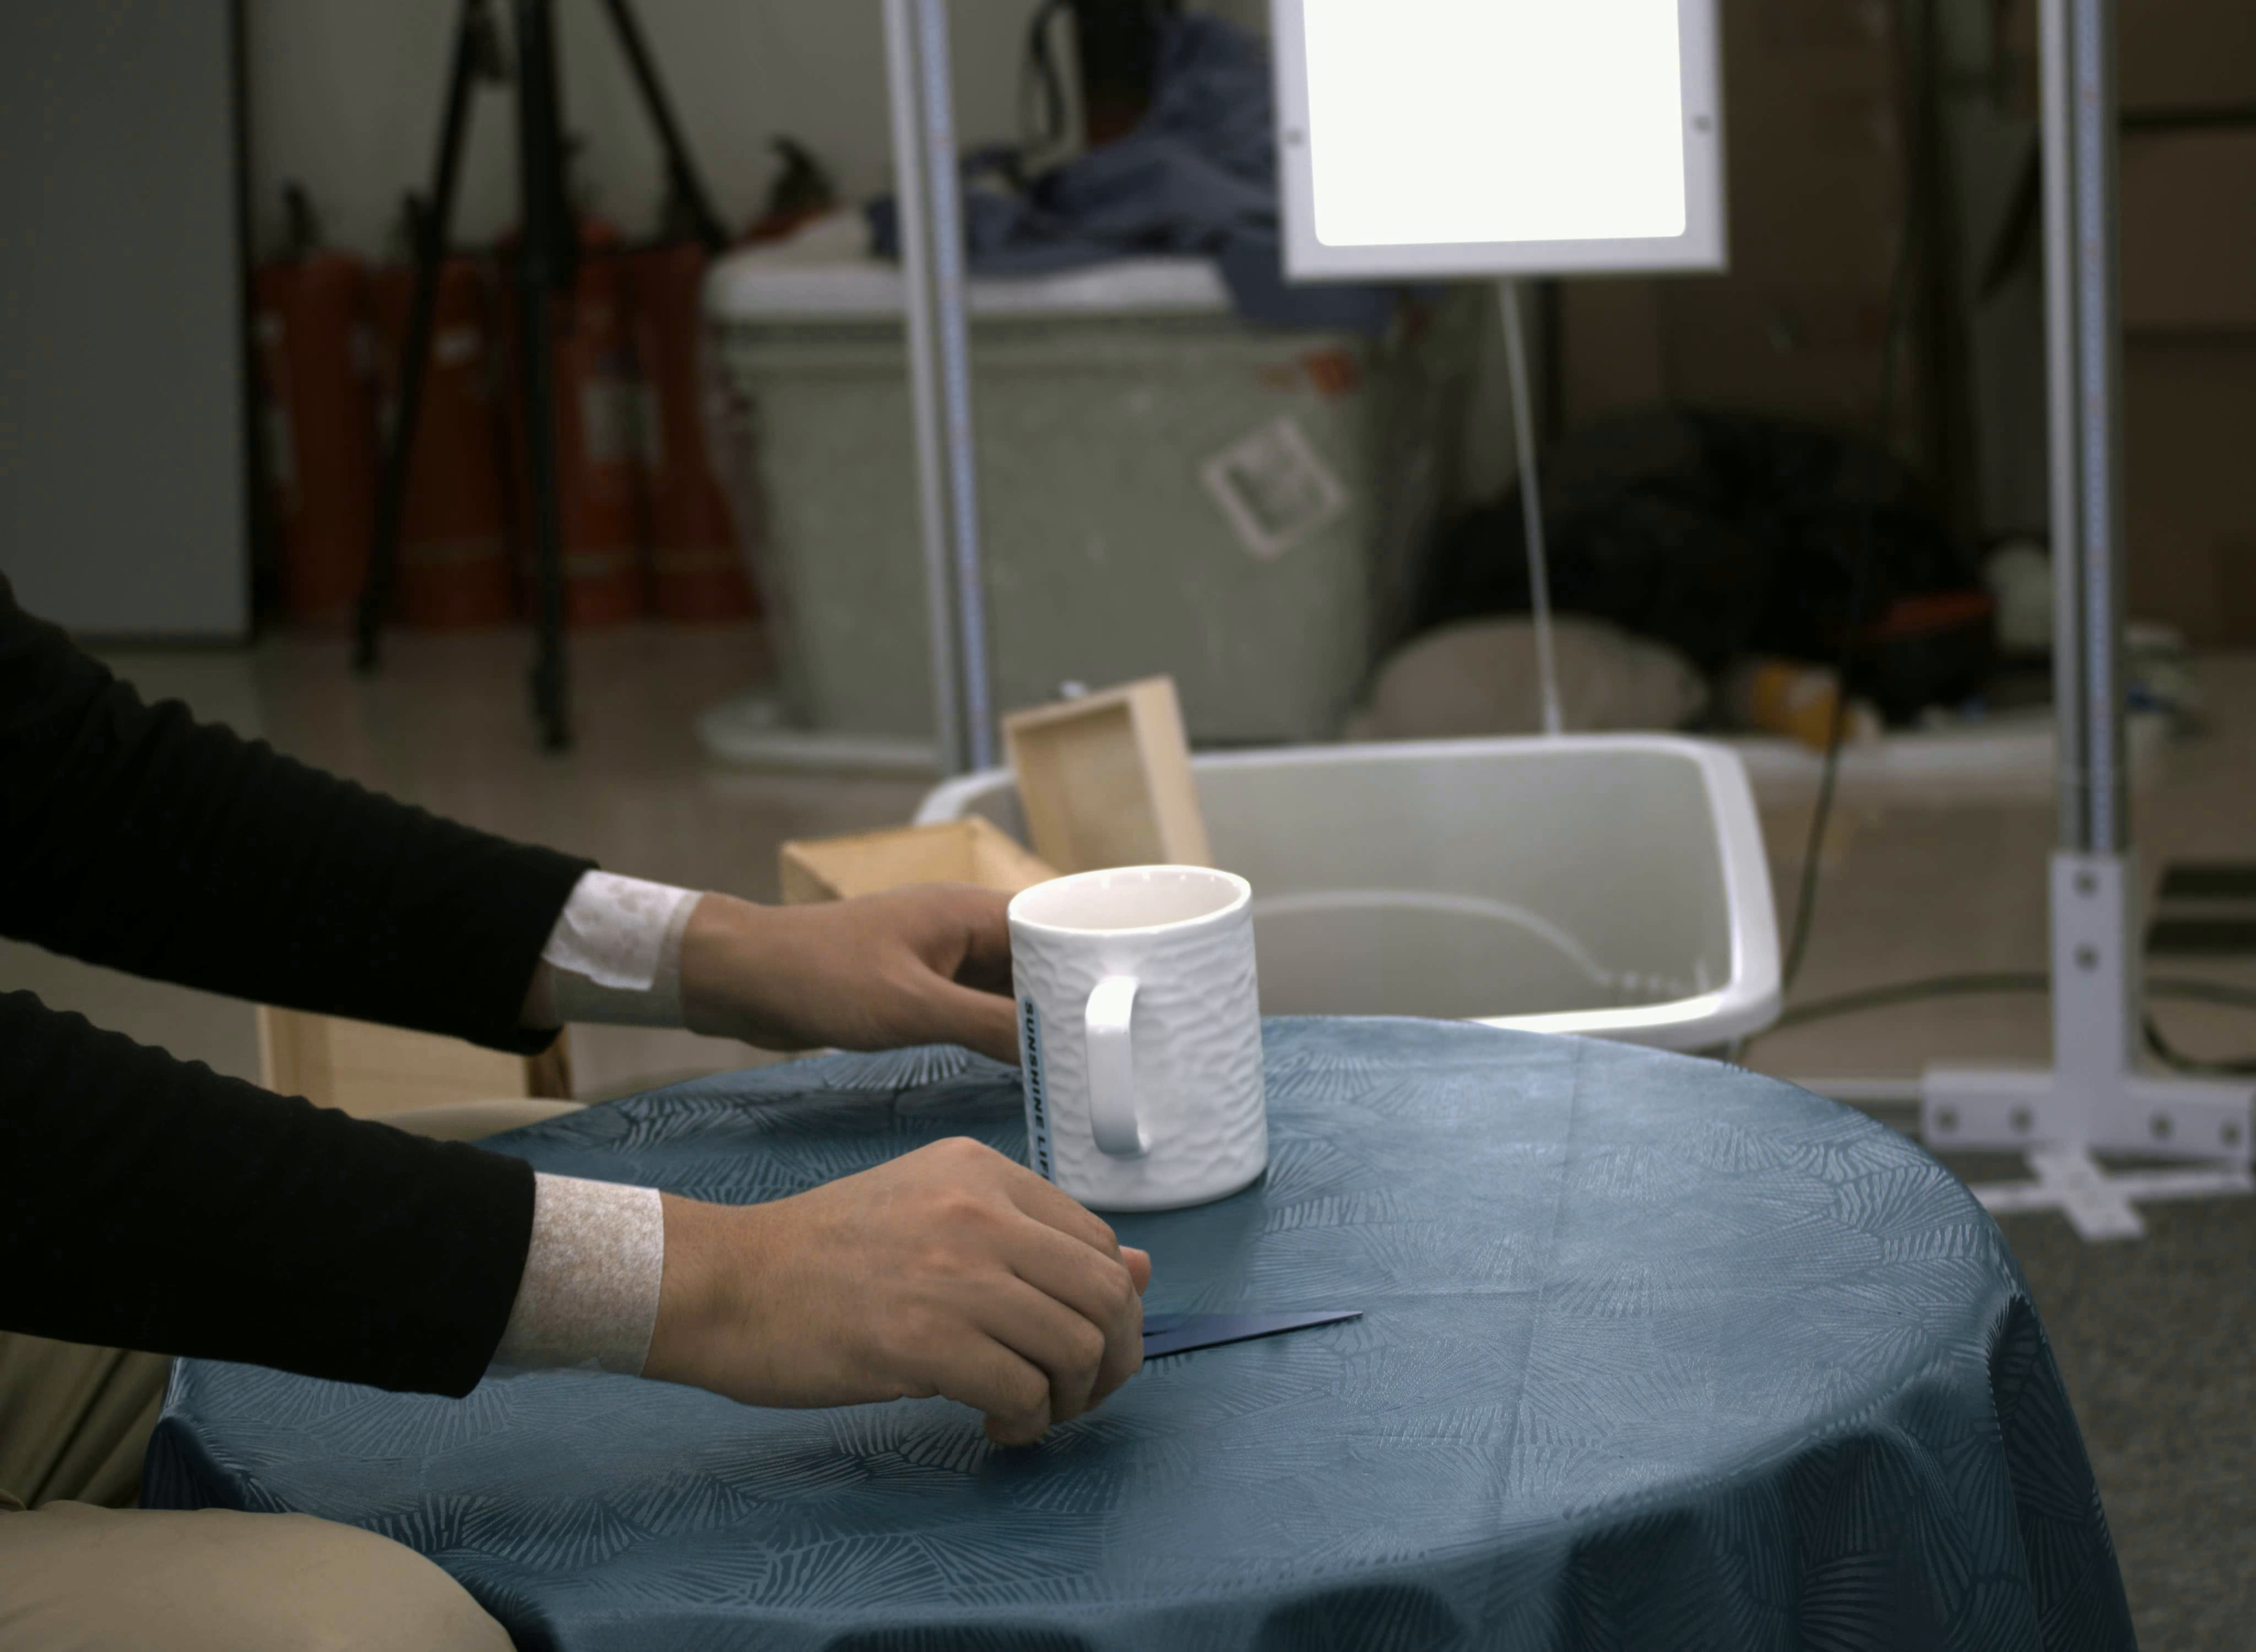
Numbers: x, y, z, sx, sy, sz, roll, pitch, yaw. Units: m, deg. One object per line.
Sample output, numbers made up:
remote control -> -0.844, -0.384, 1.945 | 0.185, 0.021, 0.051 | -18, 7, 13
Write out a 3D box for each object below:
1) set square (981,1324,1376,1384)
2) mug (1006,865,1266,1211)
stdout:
set square -> 0.010, 0.165, 1.728 | 0.133, 0.006, 0.060 | -1, 12, 16
mug -> 0.002, 0.077, 1.884 | 0.085, 0.102, 0.117 | -2, 14, 9
